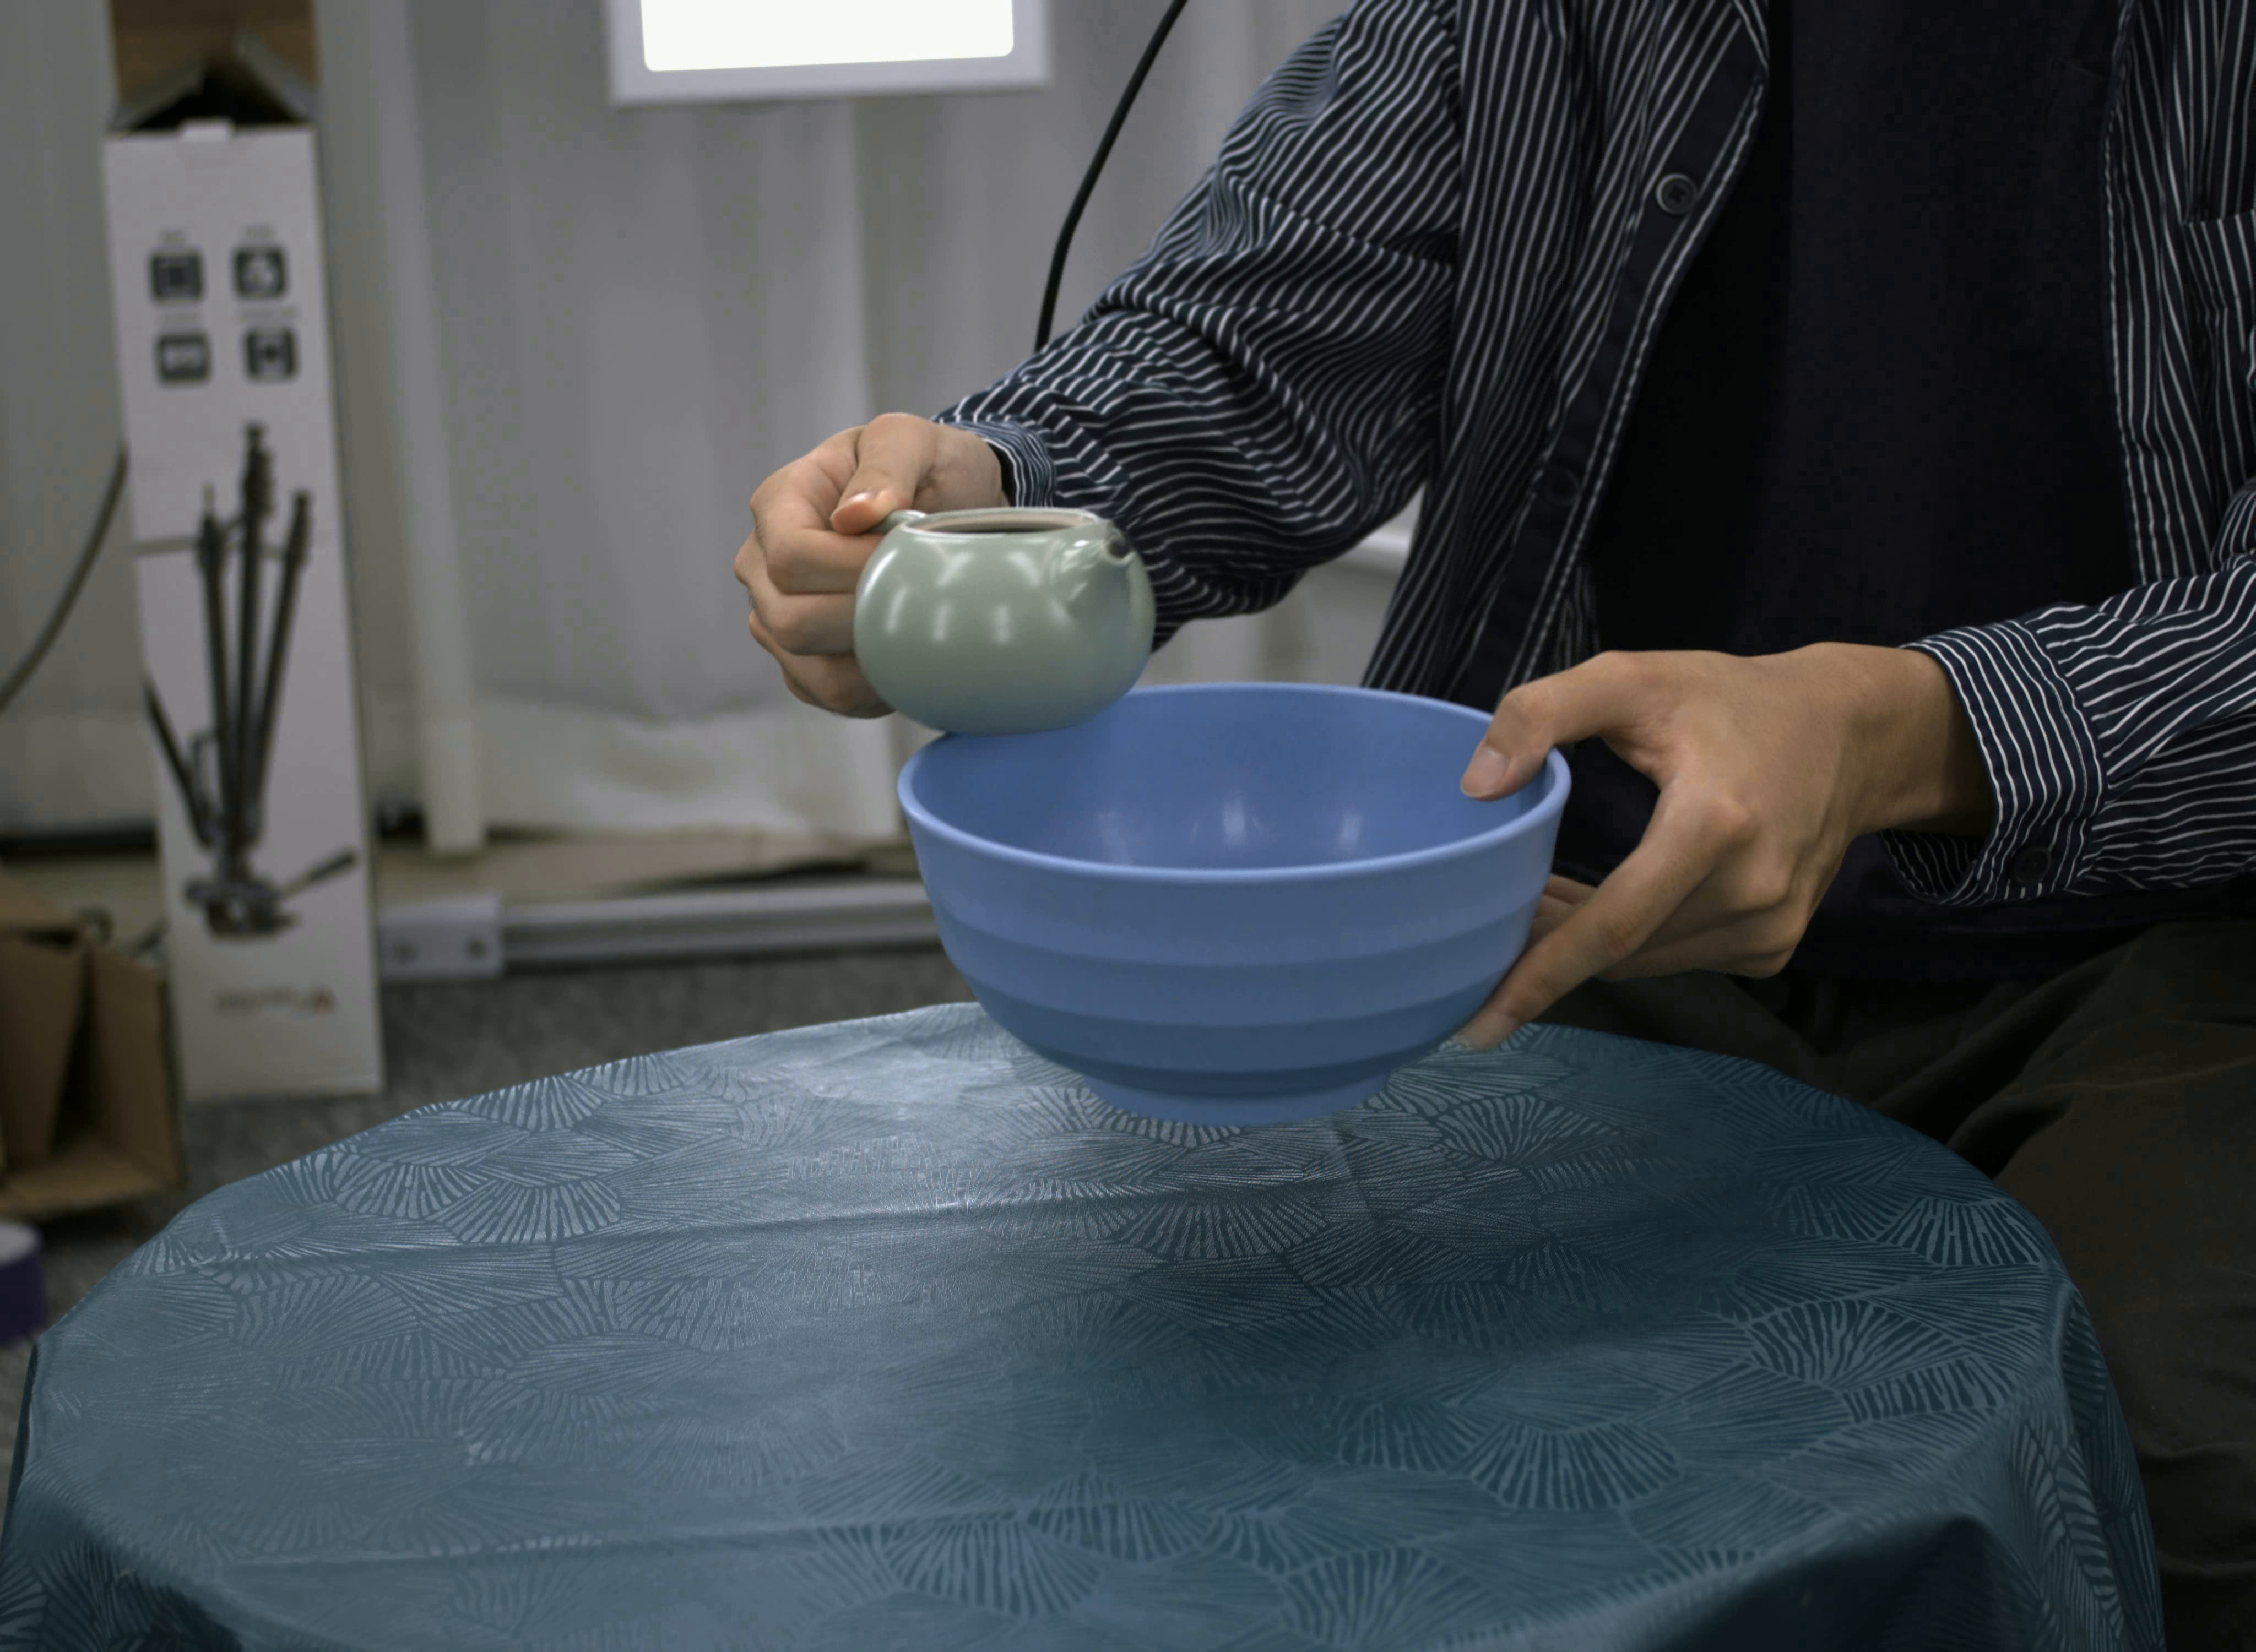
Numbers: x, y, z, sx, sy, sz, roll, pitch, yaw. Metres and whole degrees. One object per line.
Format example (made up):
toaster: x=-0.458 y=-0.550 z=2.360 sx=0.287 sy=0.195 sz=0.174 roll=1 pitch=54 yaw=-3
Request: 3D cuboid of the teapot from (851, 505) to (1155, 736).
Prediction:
teapot: x=-0.043 y=-0.063 z=1.649 sx=0.091 sy=0.061 sz=0.129 roll=-13 pitch=15 yaw=-37

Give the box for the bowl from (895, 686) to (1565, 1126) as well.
bowl: x=0.031 y=0.029 z=1.610 sx=0.196 sy=0.095 sz=0.198 roll=-1 pitch=16 yaw=0
